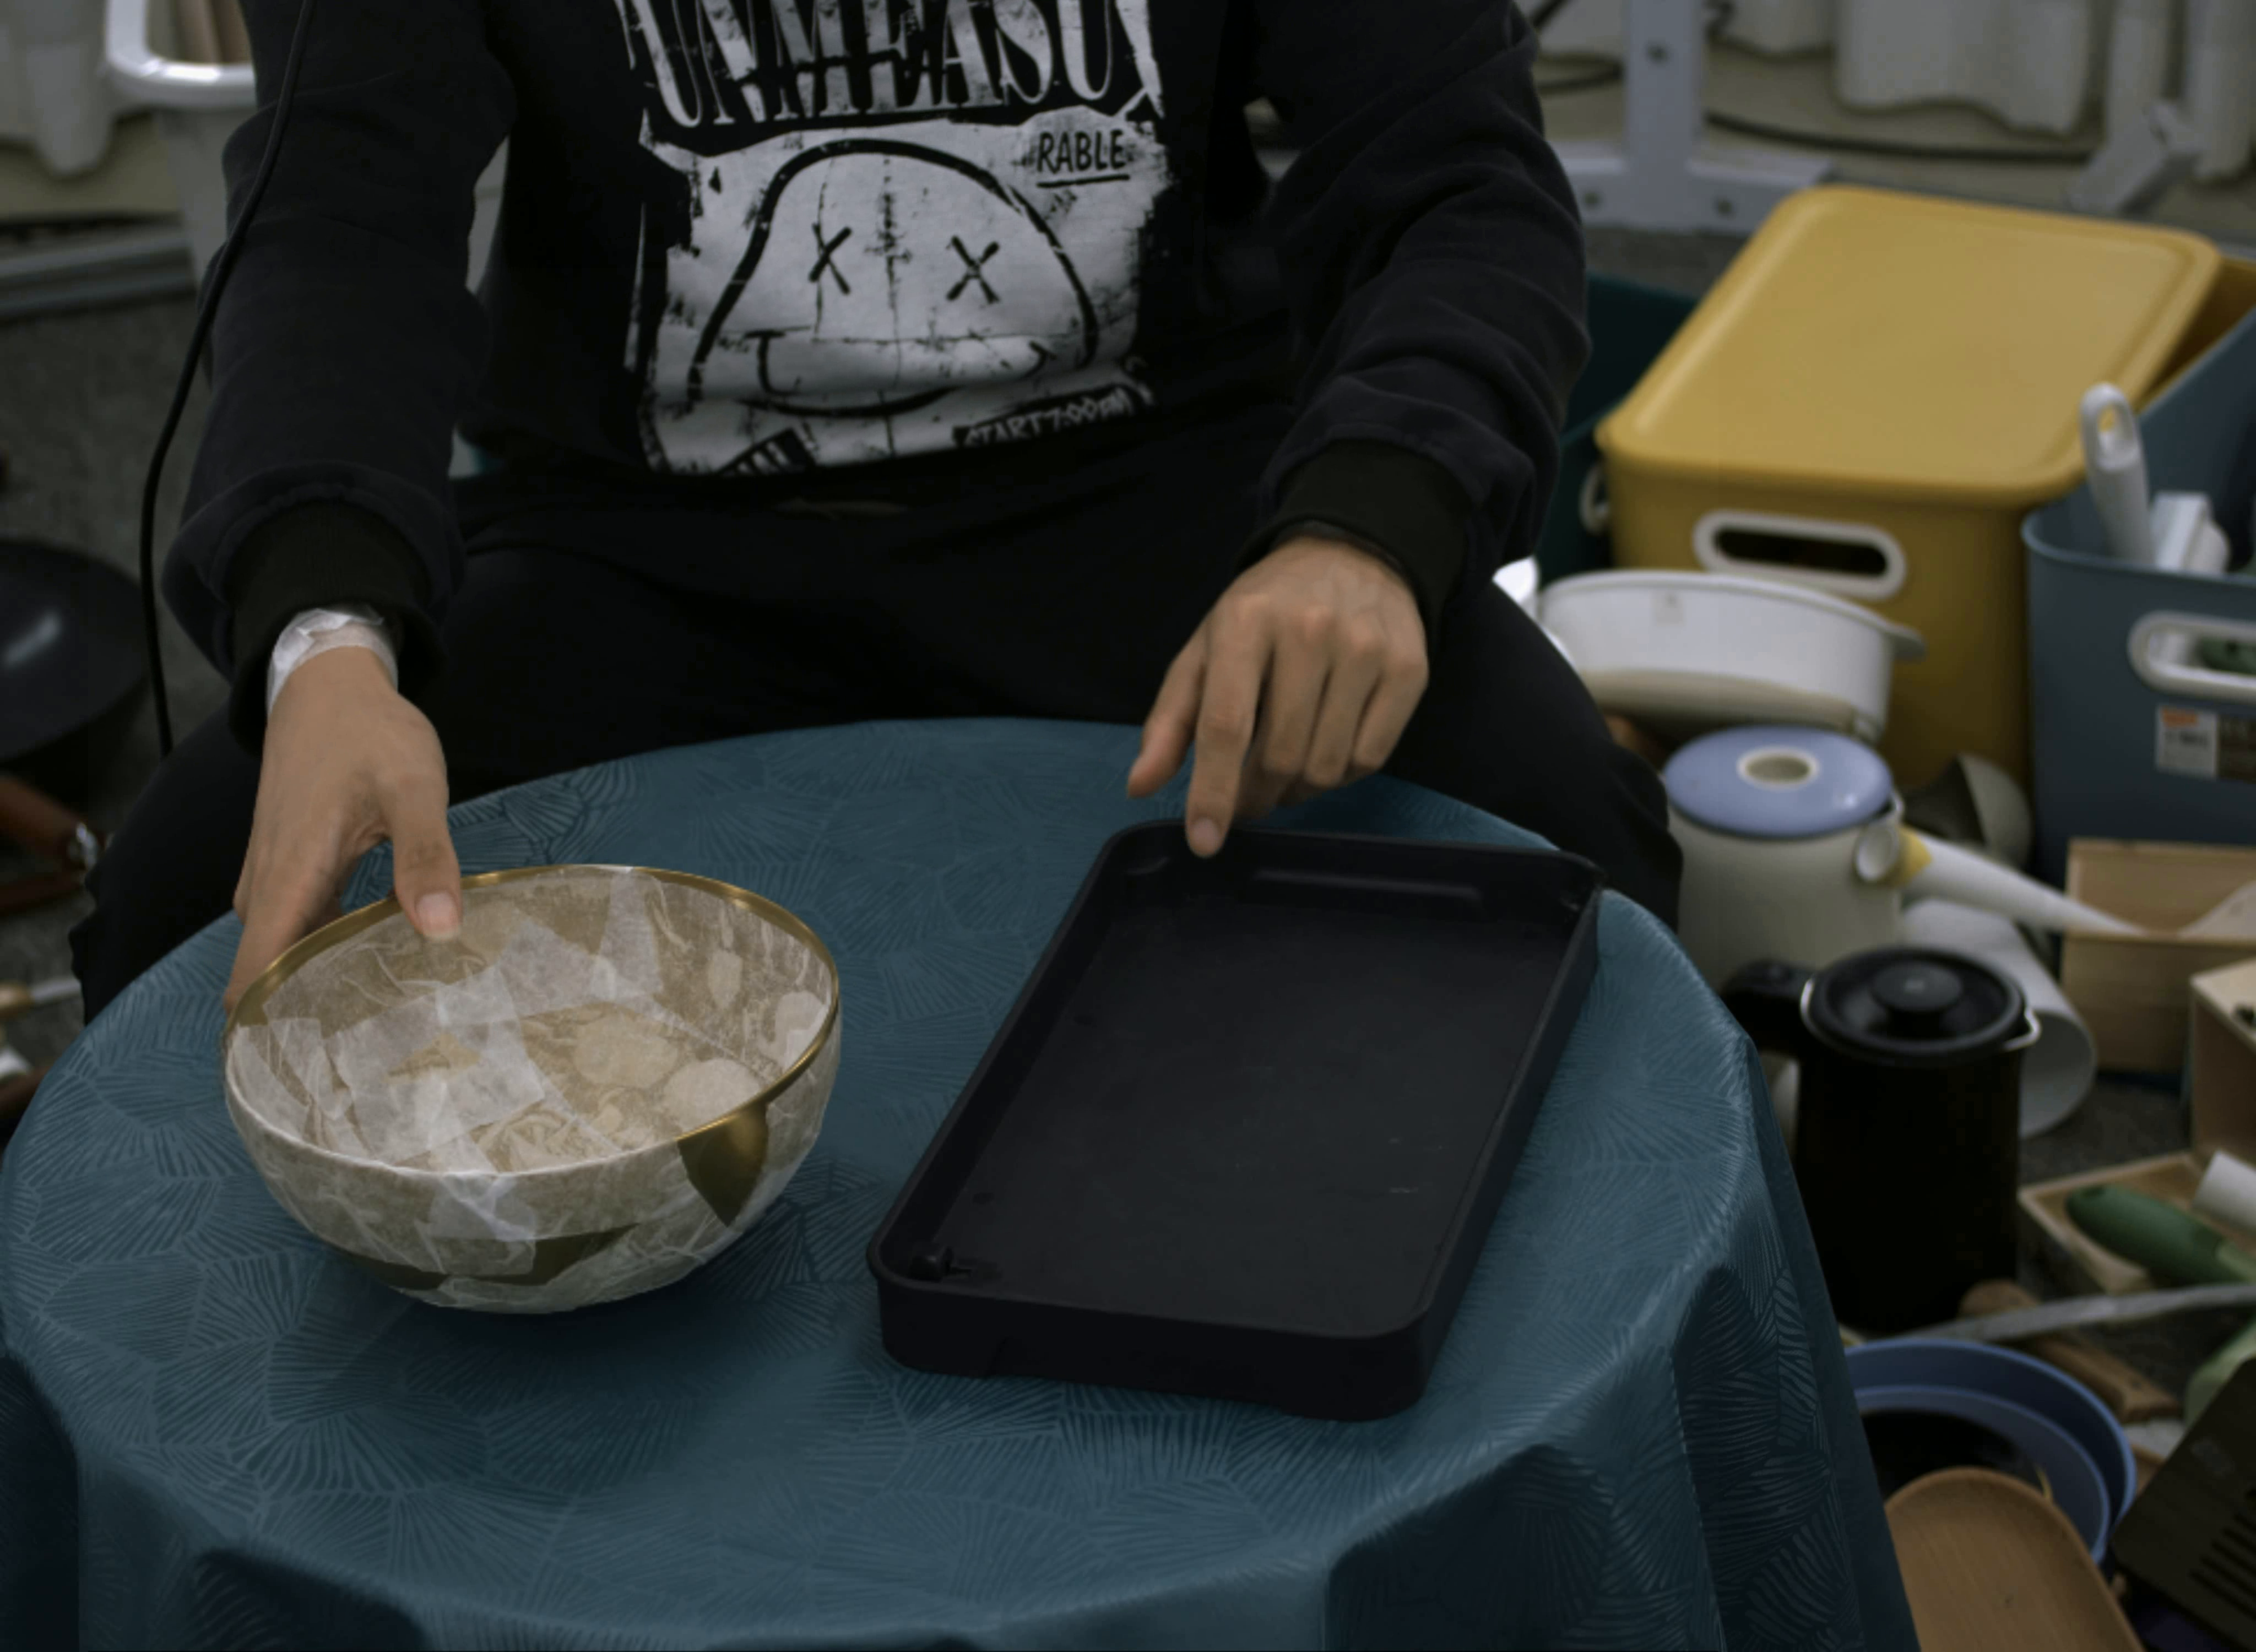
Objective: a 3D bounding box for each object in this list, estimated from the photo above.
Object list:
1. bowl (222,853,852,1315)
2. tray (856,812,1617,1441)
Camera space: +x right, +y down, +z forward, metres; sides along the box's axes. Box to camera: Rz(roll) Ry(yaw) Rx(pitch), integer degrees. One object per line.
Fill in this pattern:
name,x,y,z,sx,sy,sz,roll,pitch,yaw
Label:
bowl,-0.185,0.097,1.828,0.213,0.093,0.218,-3,27,2
tray,0.043,0.093,1.878,0.183,0.036,0.323,7,30,16
